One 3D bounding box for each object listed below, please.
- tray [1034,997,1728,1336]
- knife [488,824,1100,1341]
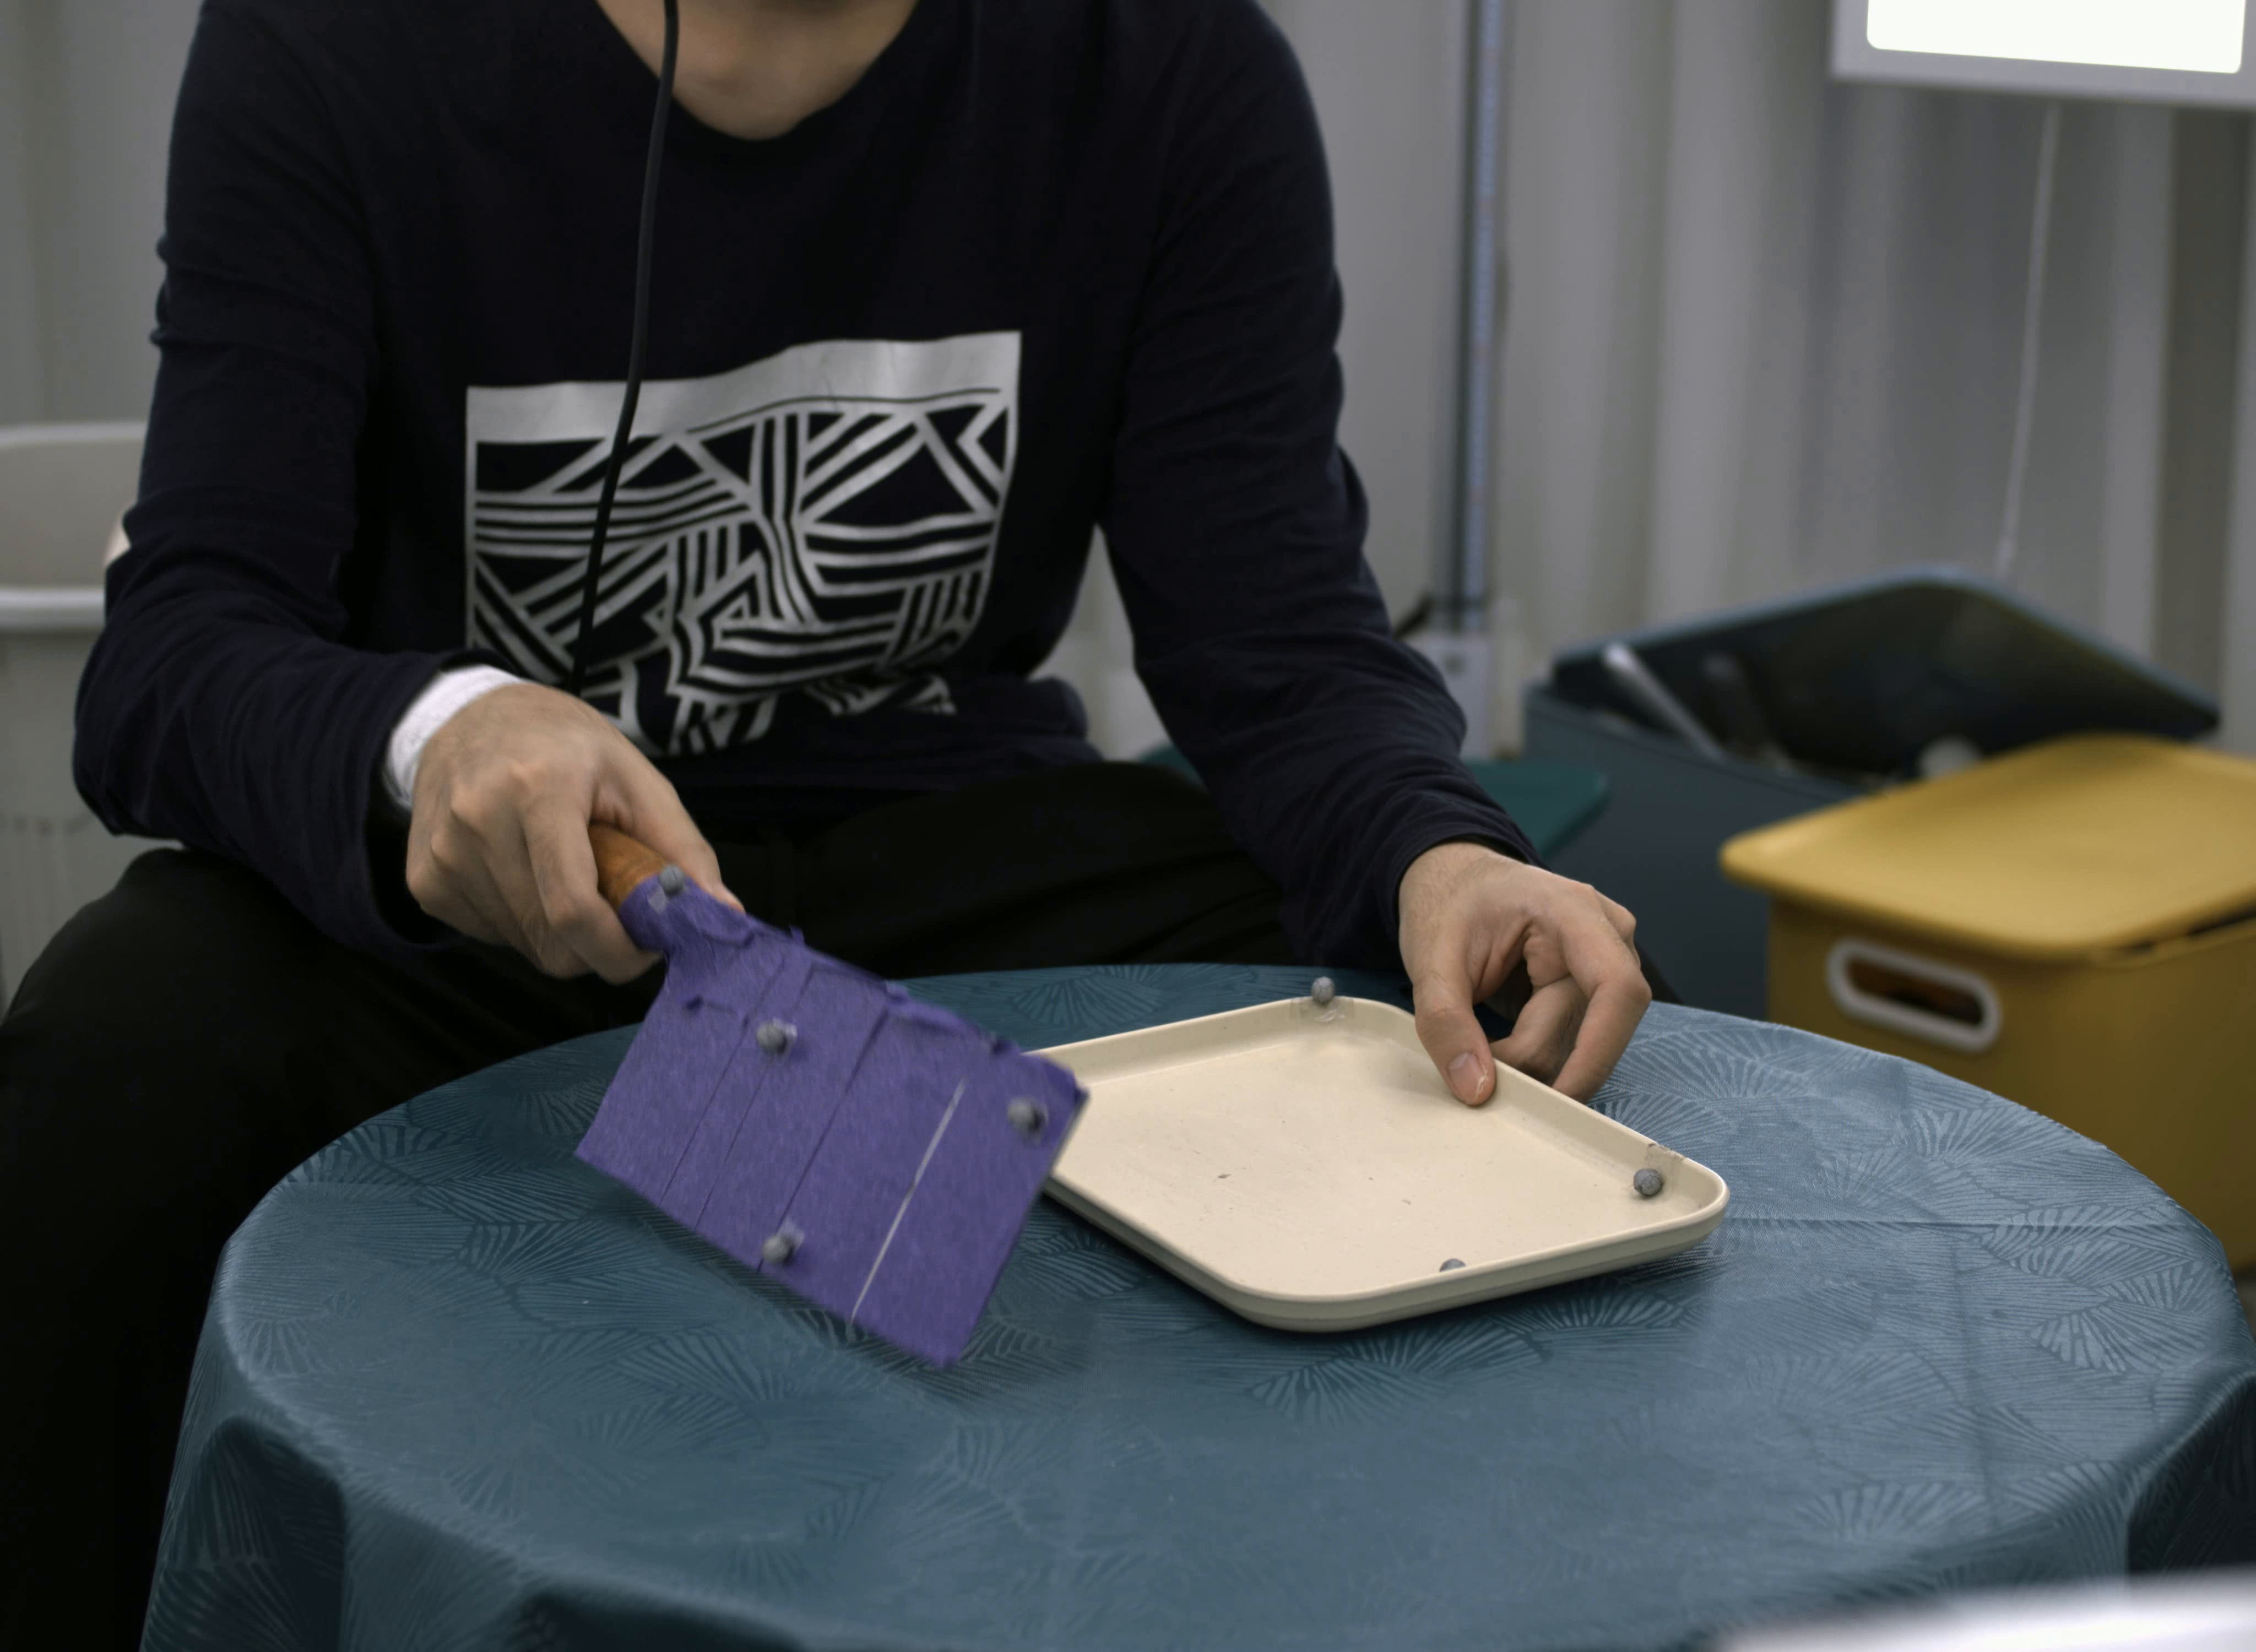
[{"bbox_3d":[0.059,0.103,1.619,0.172,0.017,0.236,-11,19,-27],"label":"tray"},{"bbox_3d":[-0.120,0.073,1.564,0.032,0.104,0.311,32,-6,-37],"label":"knife"}]
